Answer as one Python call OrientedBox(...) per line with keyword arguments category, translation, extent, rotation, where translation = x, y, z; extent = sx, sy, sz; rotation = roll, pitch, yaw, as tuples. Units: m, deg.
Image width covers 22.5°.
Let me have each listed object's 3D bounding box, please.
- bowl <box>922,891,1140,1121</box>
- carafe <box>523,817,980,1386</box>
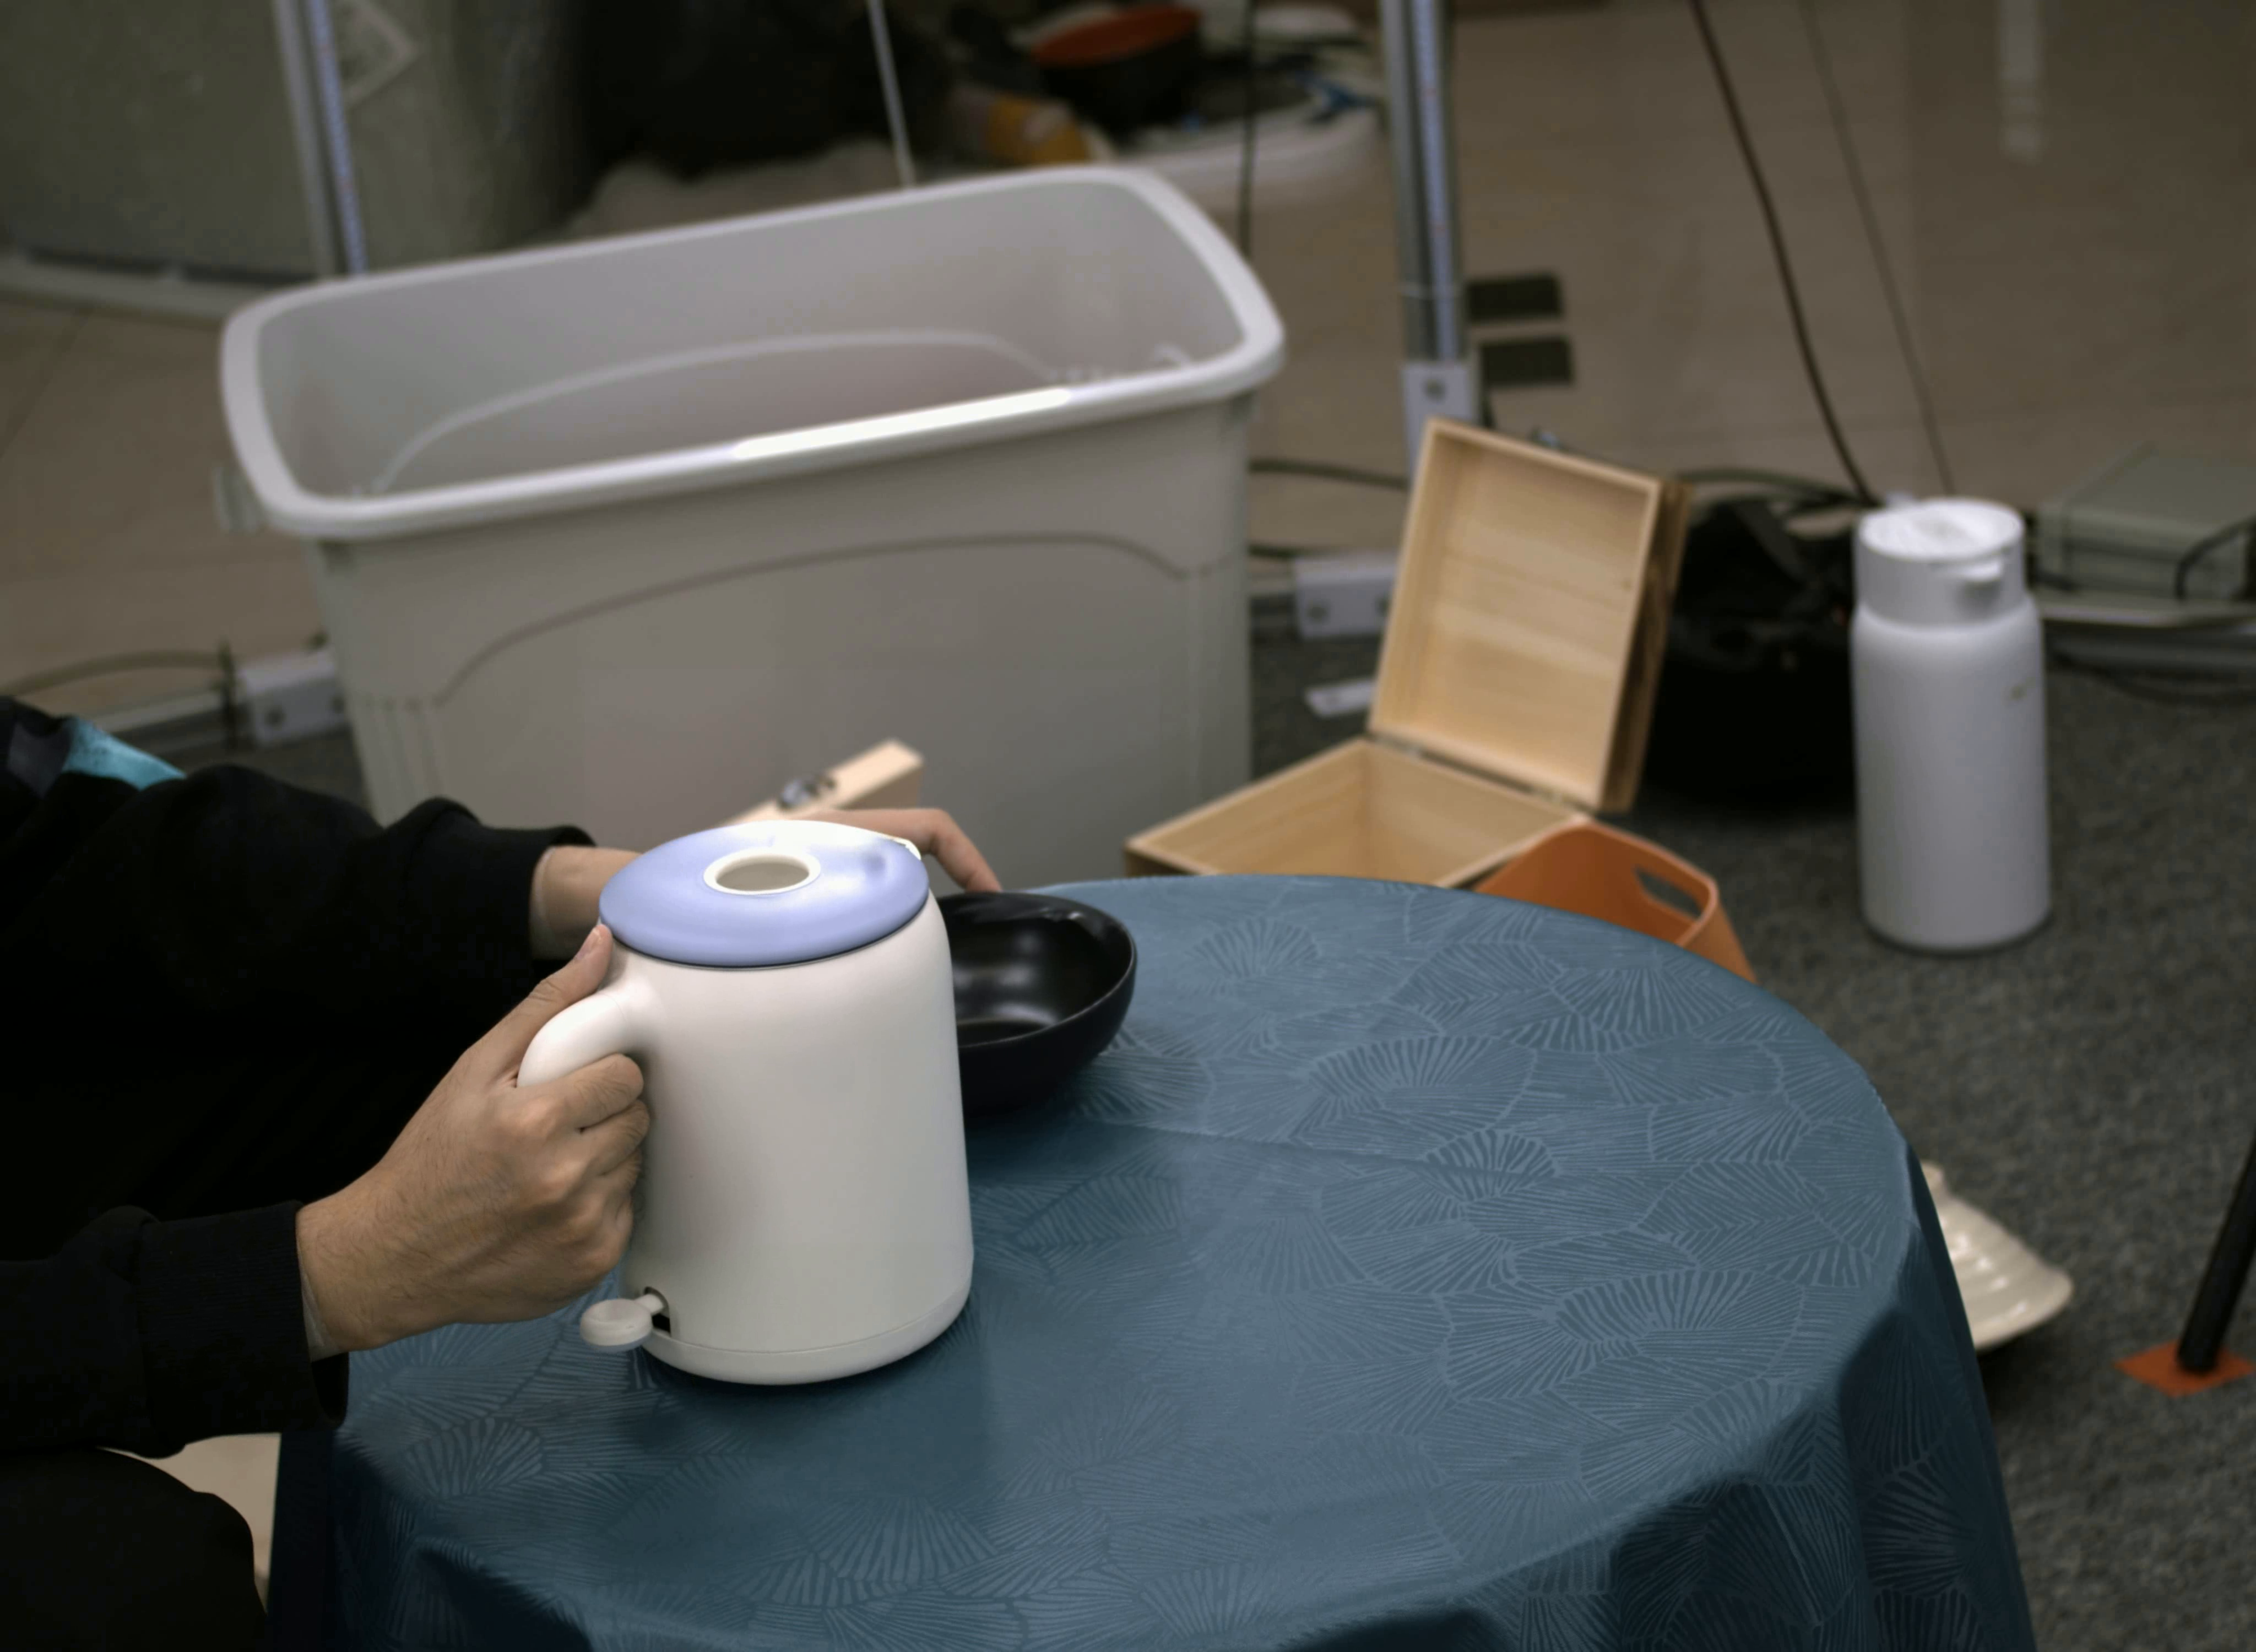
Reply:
OrientedBox(category="bowl", translation=(-0.062, 0.078, 2.233), extent=(0.140, 0.050, 0.138), rotation=(-7, 25, 4))
OrientedBox(category="carafe", translation=(-0.142, 0.107, 2.033), extent=(0.189, 0.185, 0.131), rotation=(-27, 32, -38))
